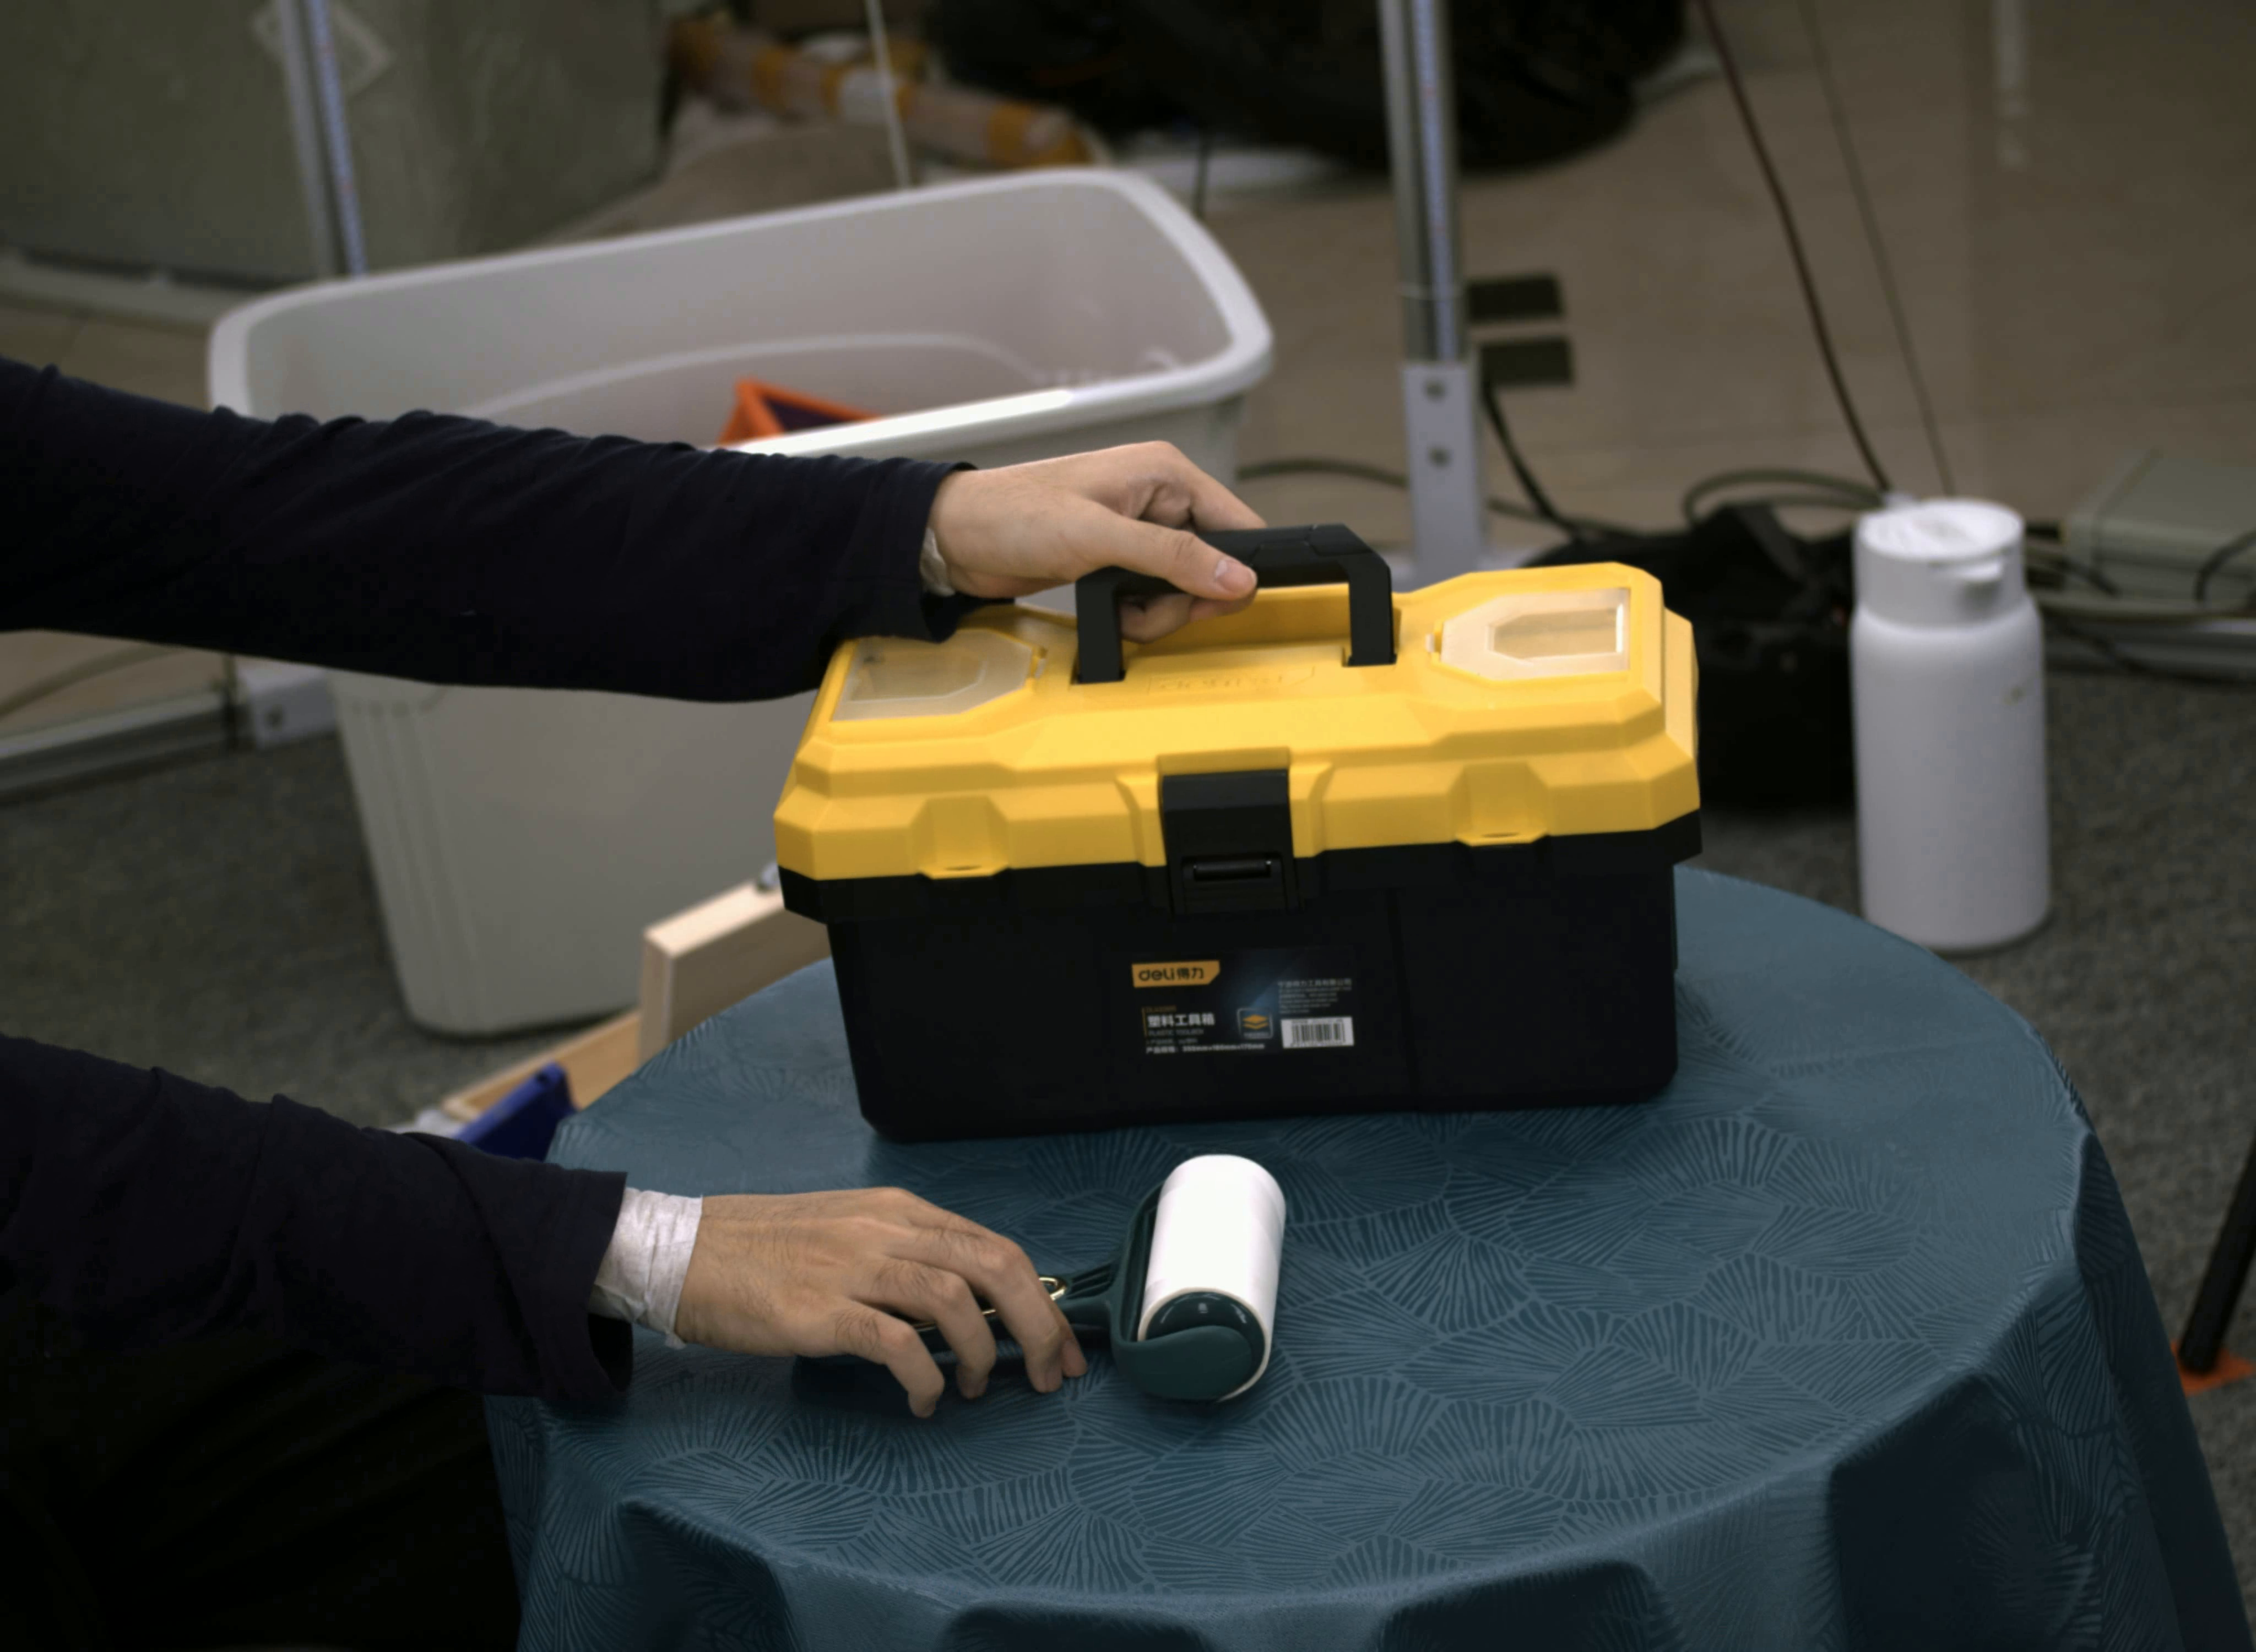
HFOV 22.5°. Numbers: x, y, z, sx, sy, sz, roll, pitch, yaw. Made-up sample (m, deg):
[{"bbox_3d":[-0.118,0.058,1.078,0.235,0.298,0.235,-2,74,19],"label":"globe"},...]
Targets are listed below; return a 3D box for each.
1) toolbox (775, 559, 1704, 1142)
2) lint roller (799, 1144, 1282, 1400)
[{"bbox_3d":[0.049,0.012,2.203,0.351,0.175,0.178,-4,25,7],"label":"toolbox"},{"bbox_3d":[-0.035,0.169,2.048,0.180,0.049,0.132,-7,25,8],"label":"lint roller"}]
